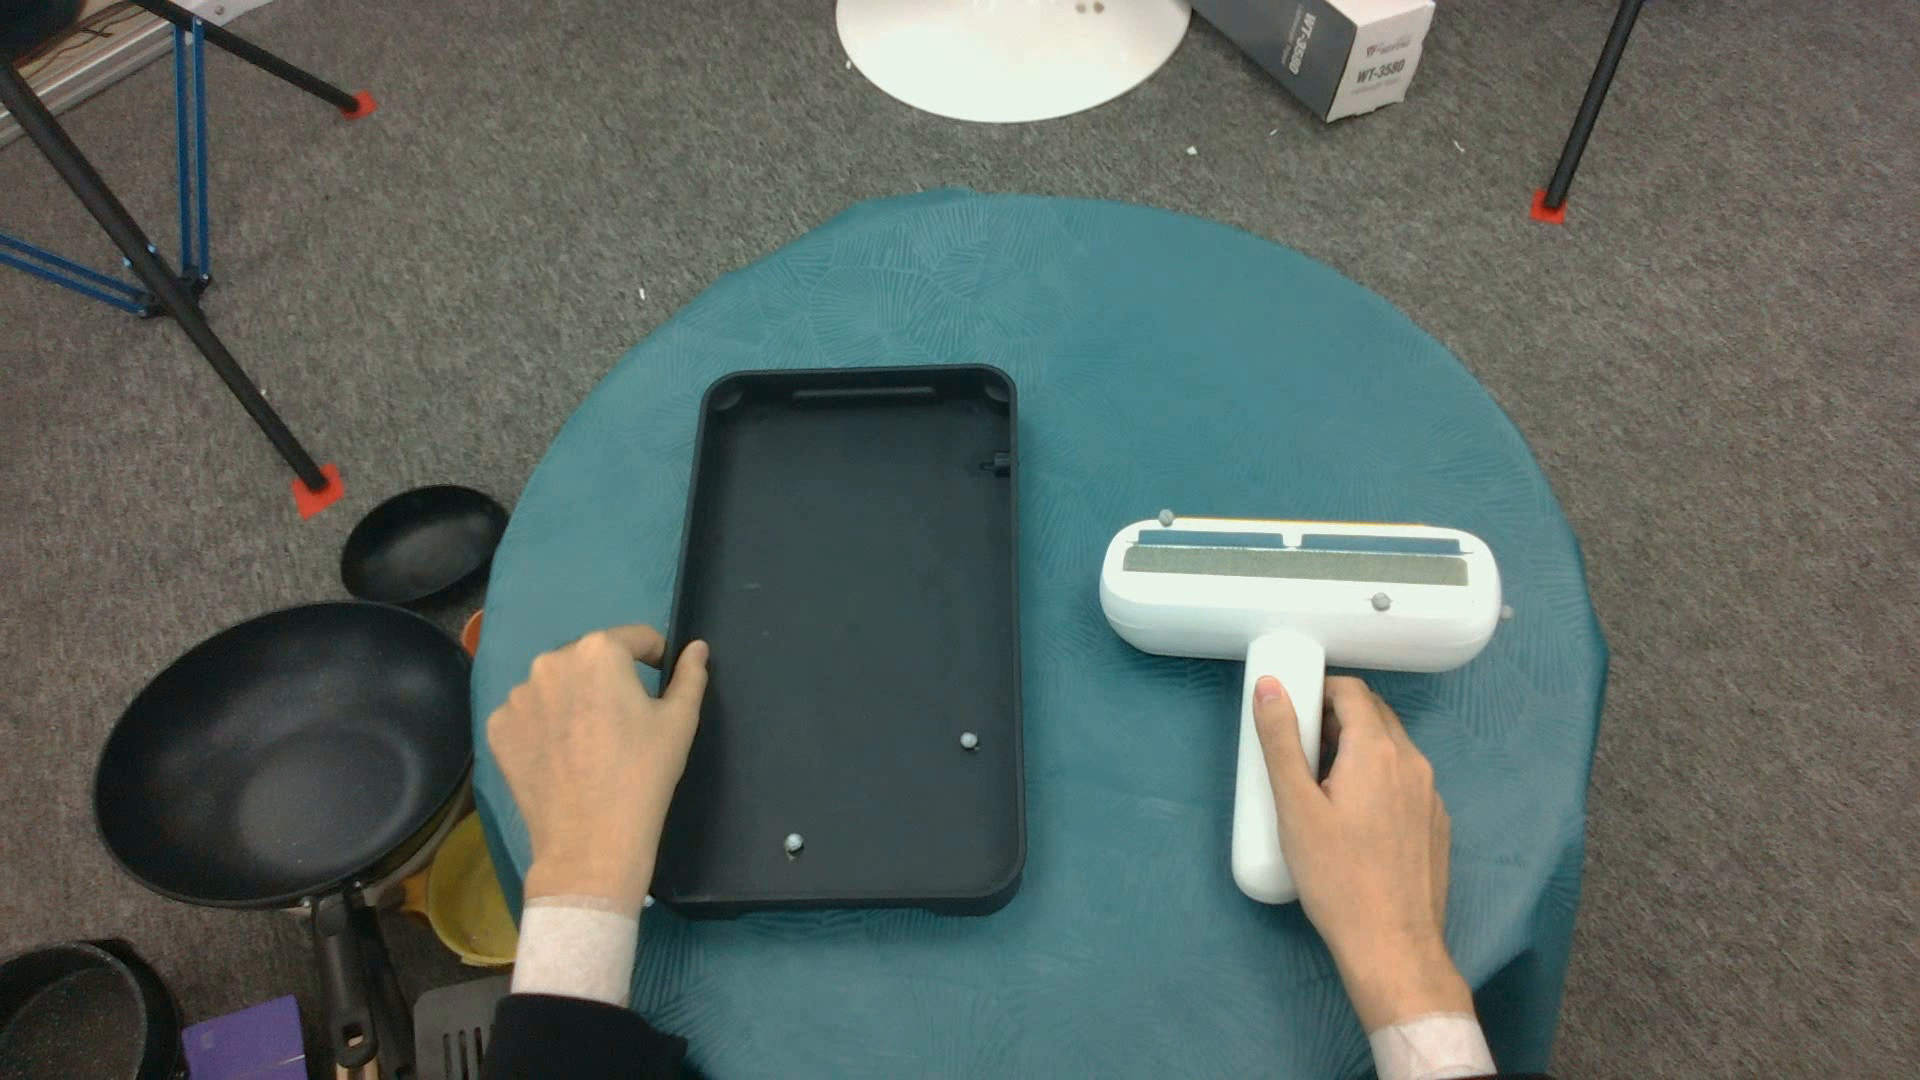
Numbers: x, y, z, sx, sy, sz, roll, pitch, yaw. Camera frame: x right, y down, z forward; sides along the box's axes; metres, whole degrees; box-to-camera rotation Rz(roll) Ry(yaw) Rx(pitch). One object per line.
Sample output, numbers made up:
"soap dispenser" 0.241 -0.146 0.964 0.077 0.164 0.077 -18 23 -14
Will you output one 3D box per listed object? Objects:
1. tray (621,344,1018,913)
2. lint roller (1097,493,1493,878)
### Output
"tray" -0.069 0.033 0.722 0.184 0.037 0.319 -3 57 1
"lint roller" 0.151 0.066 0.668 0.192 0.074 0.193 8 56 16
